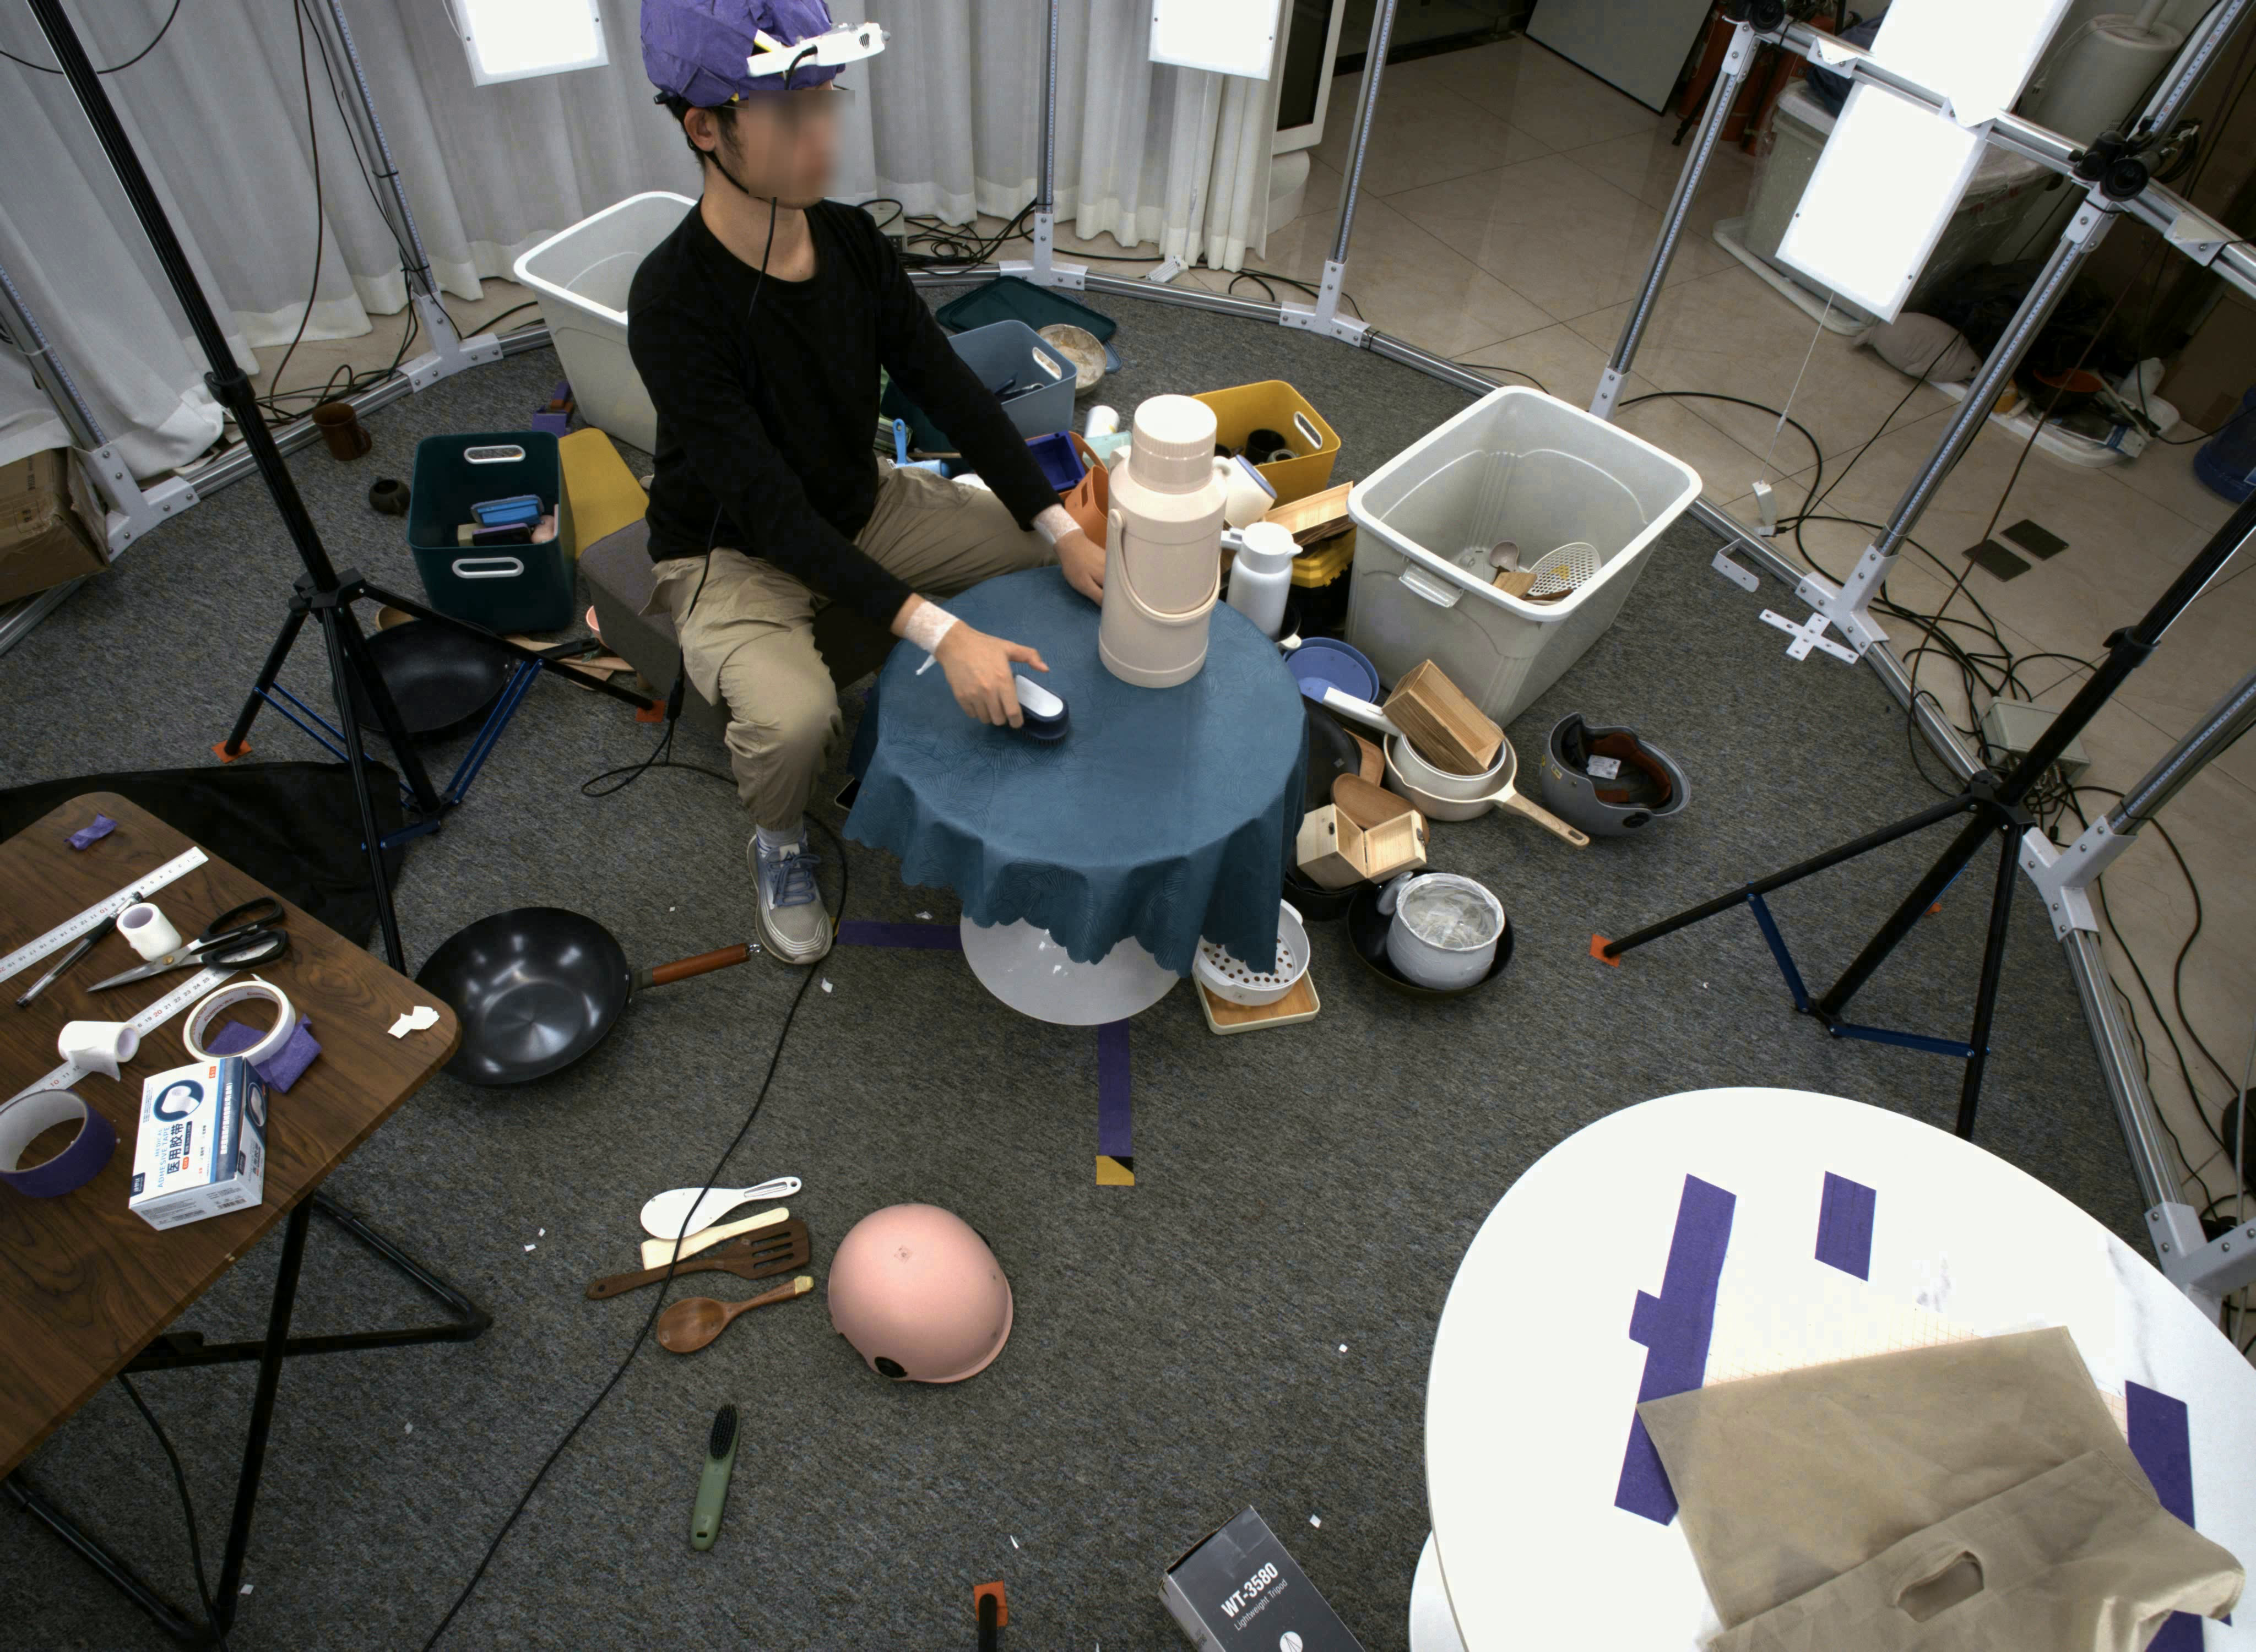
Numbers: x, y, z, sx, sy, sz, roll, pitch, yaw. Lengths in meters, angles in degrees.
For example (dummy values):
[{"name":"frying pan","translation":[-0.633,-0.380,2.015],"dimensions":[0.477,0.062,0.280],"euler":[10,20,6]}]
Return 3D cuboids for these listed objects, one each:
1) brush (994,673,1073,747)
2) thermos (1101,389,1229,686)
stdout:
[{"name":"brush","translation":[-0.130,-0.158,1.762],"dimensions":[0.123,0.060,0.068],"euler":[35,53,23]},{"name":"thermos","translation":[0.042,-0.395,1.760],"dimensions":[0.176,0.396,0.211],"euler":[-28,57,-23]}]
